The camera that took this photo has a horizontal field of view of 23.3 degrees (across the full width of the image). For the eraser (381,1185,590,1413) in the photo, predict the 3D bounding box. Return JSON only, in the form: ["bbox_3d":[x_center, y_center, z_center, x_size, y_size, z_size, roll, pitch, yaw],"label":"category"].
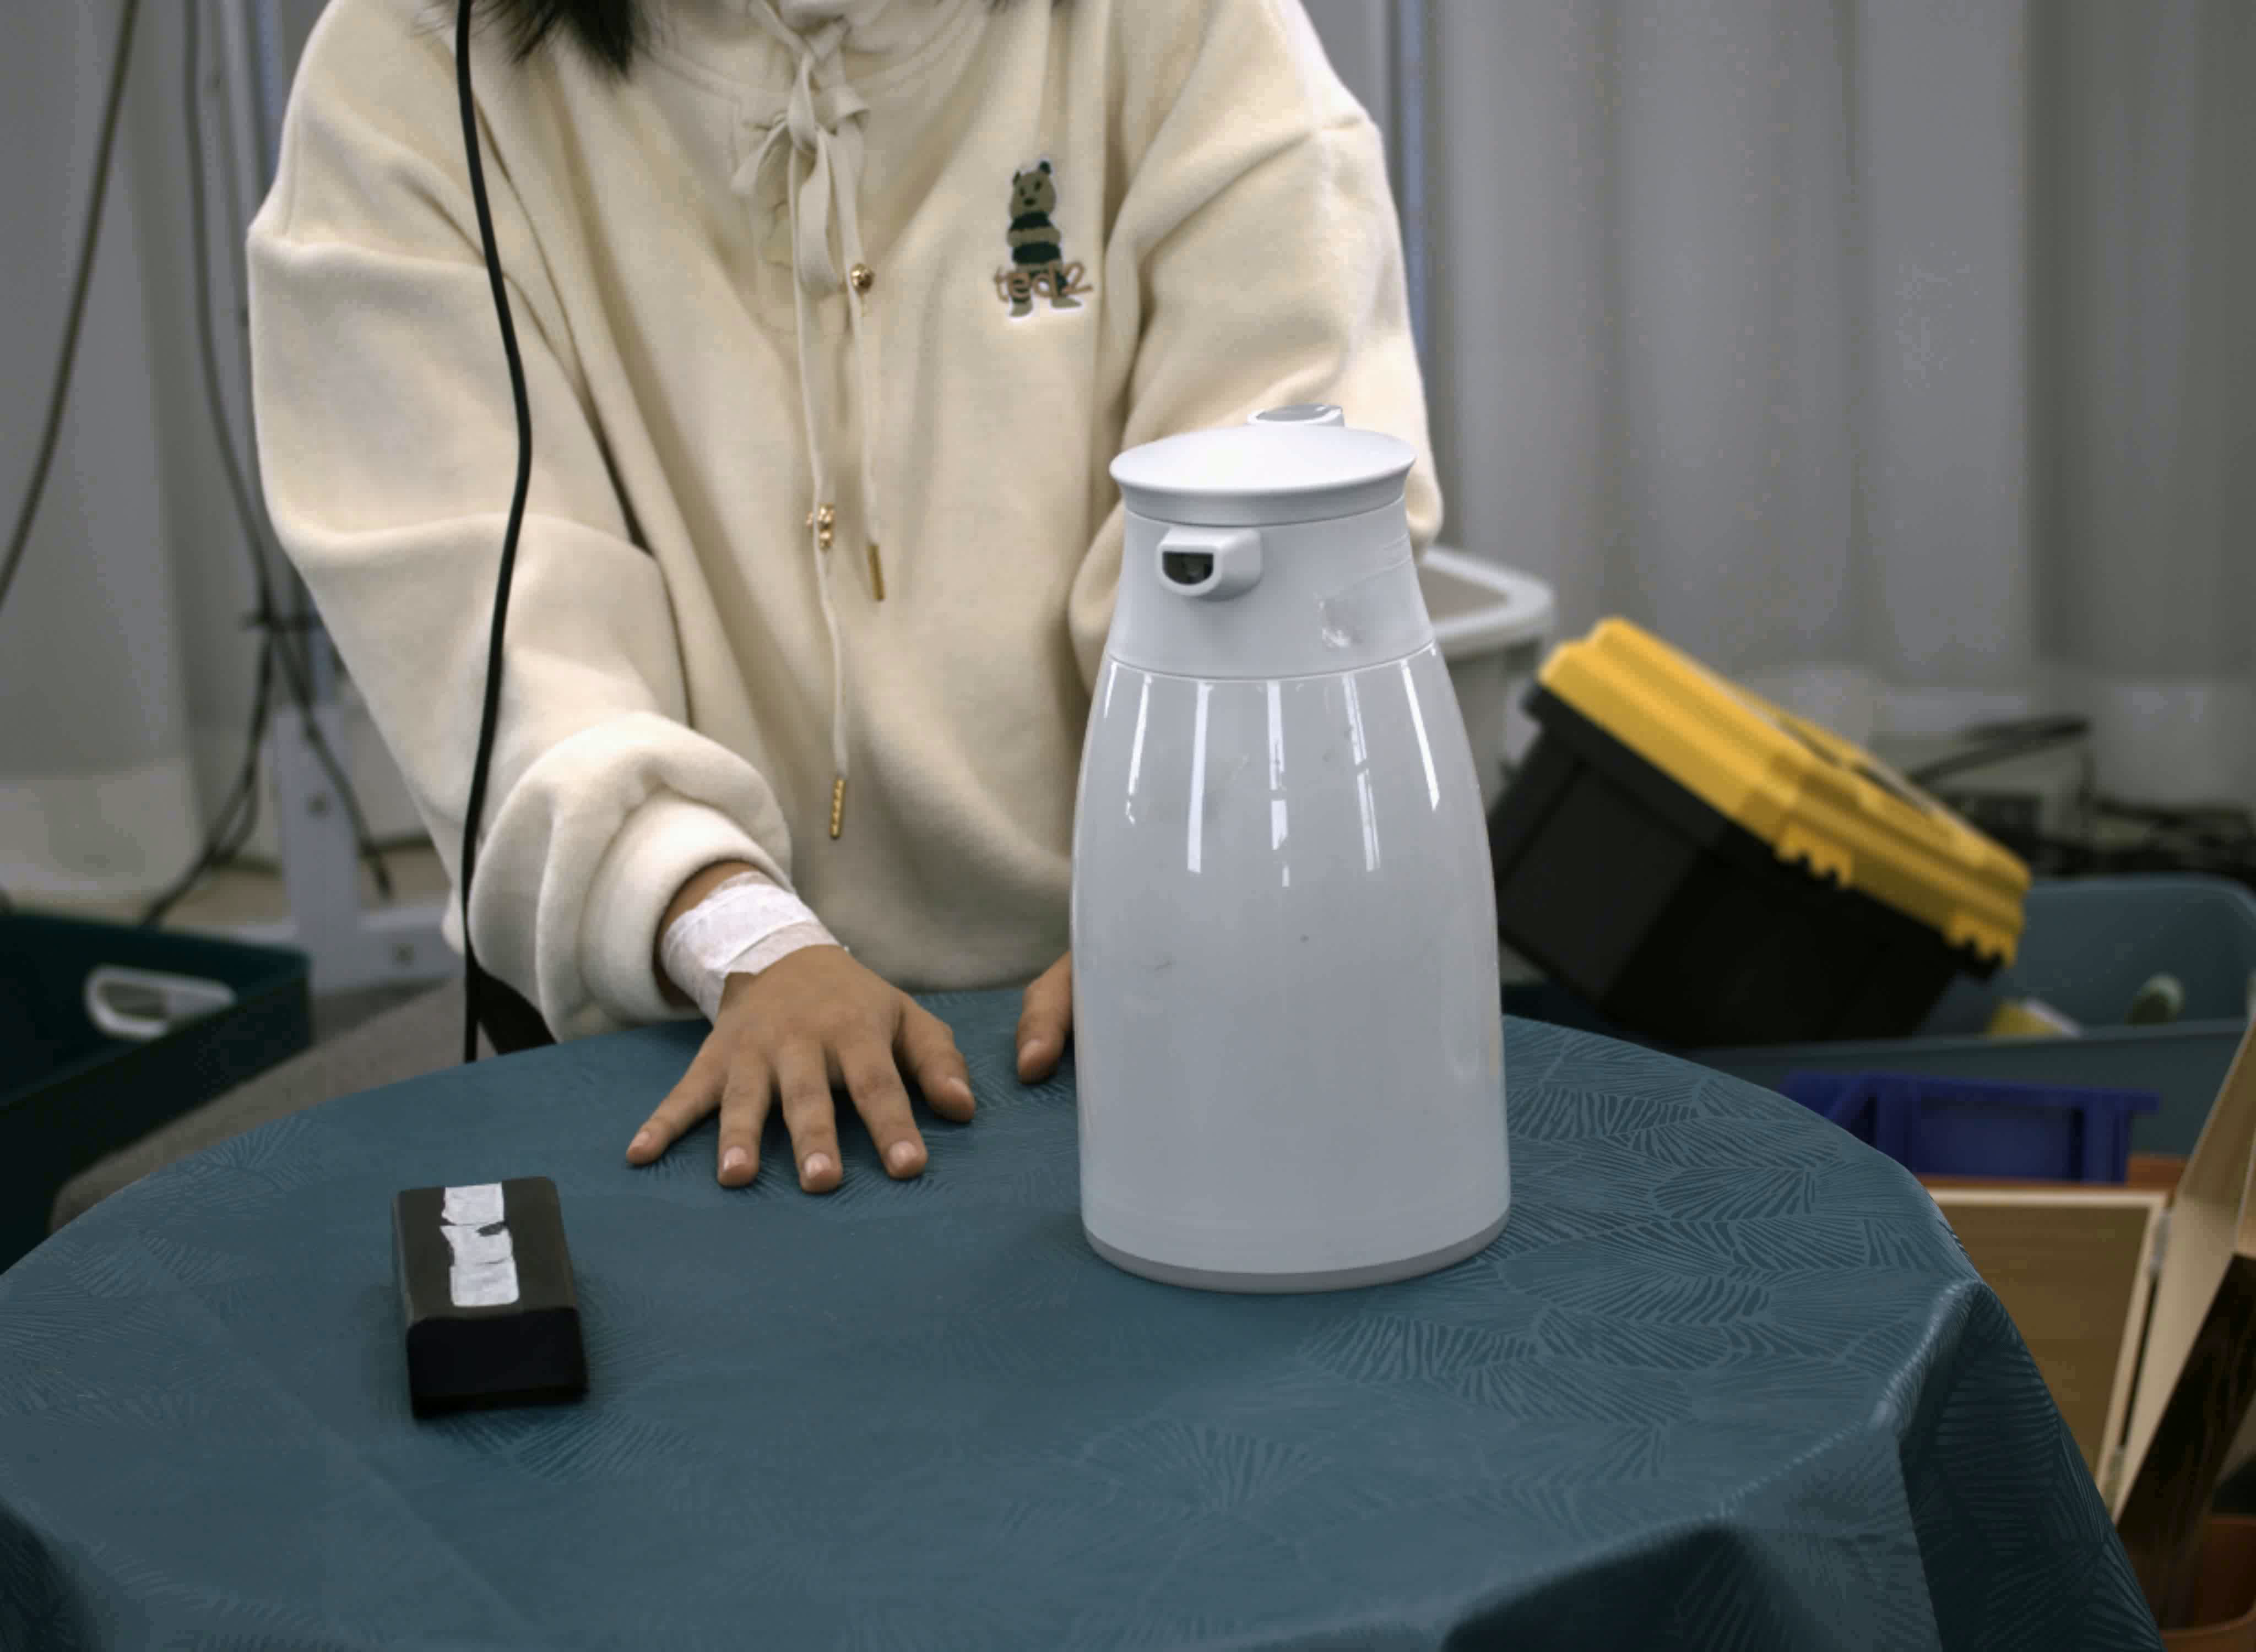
[{"bbox_3d":[-0.189,0.138,1.607,0.053,0.030,0.126,-4,14,-10],"label":"eraser"}]

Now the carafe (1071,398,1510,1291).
[{"bbox_3d":[0.052,-0.003,1.667,0.132,0.248,0.168,2,14,22],"label":"carafe"}]
